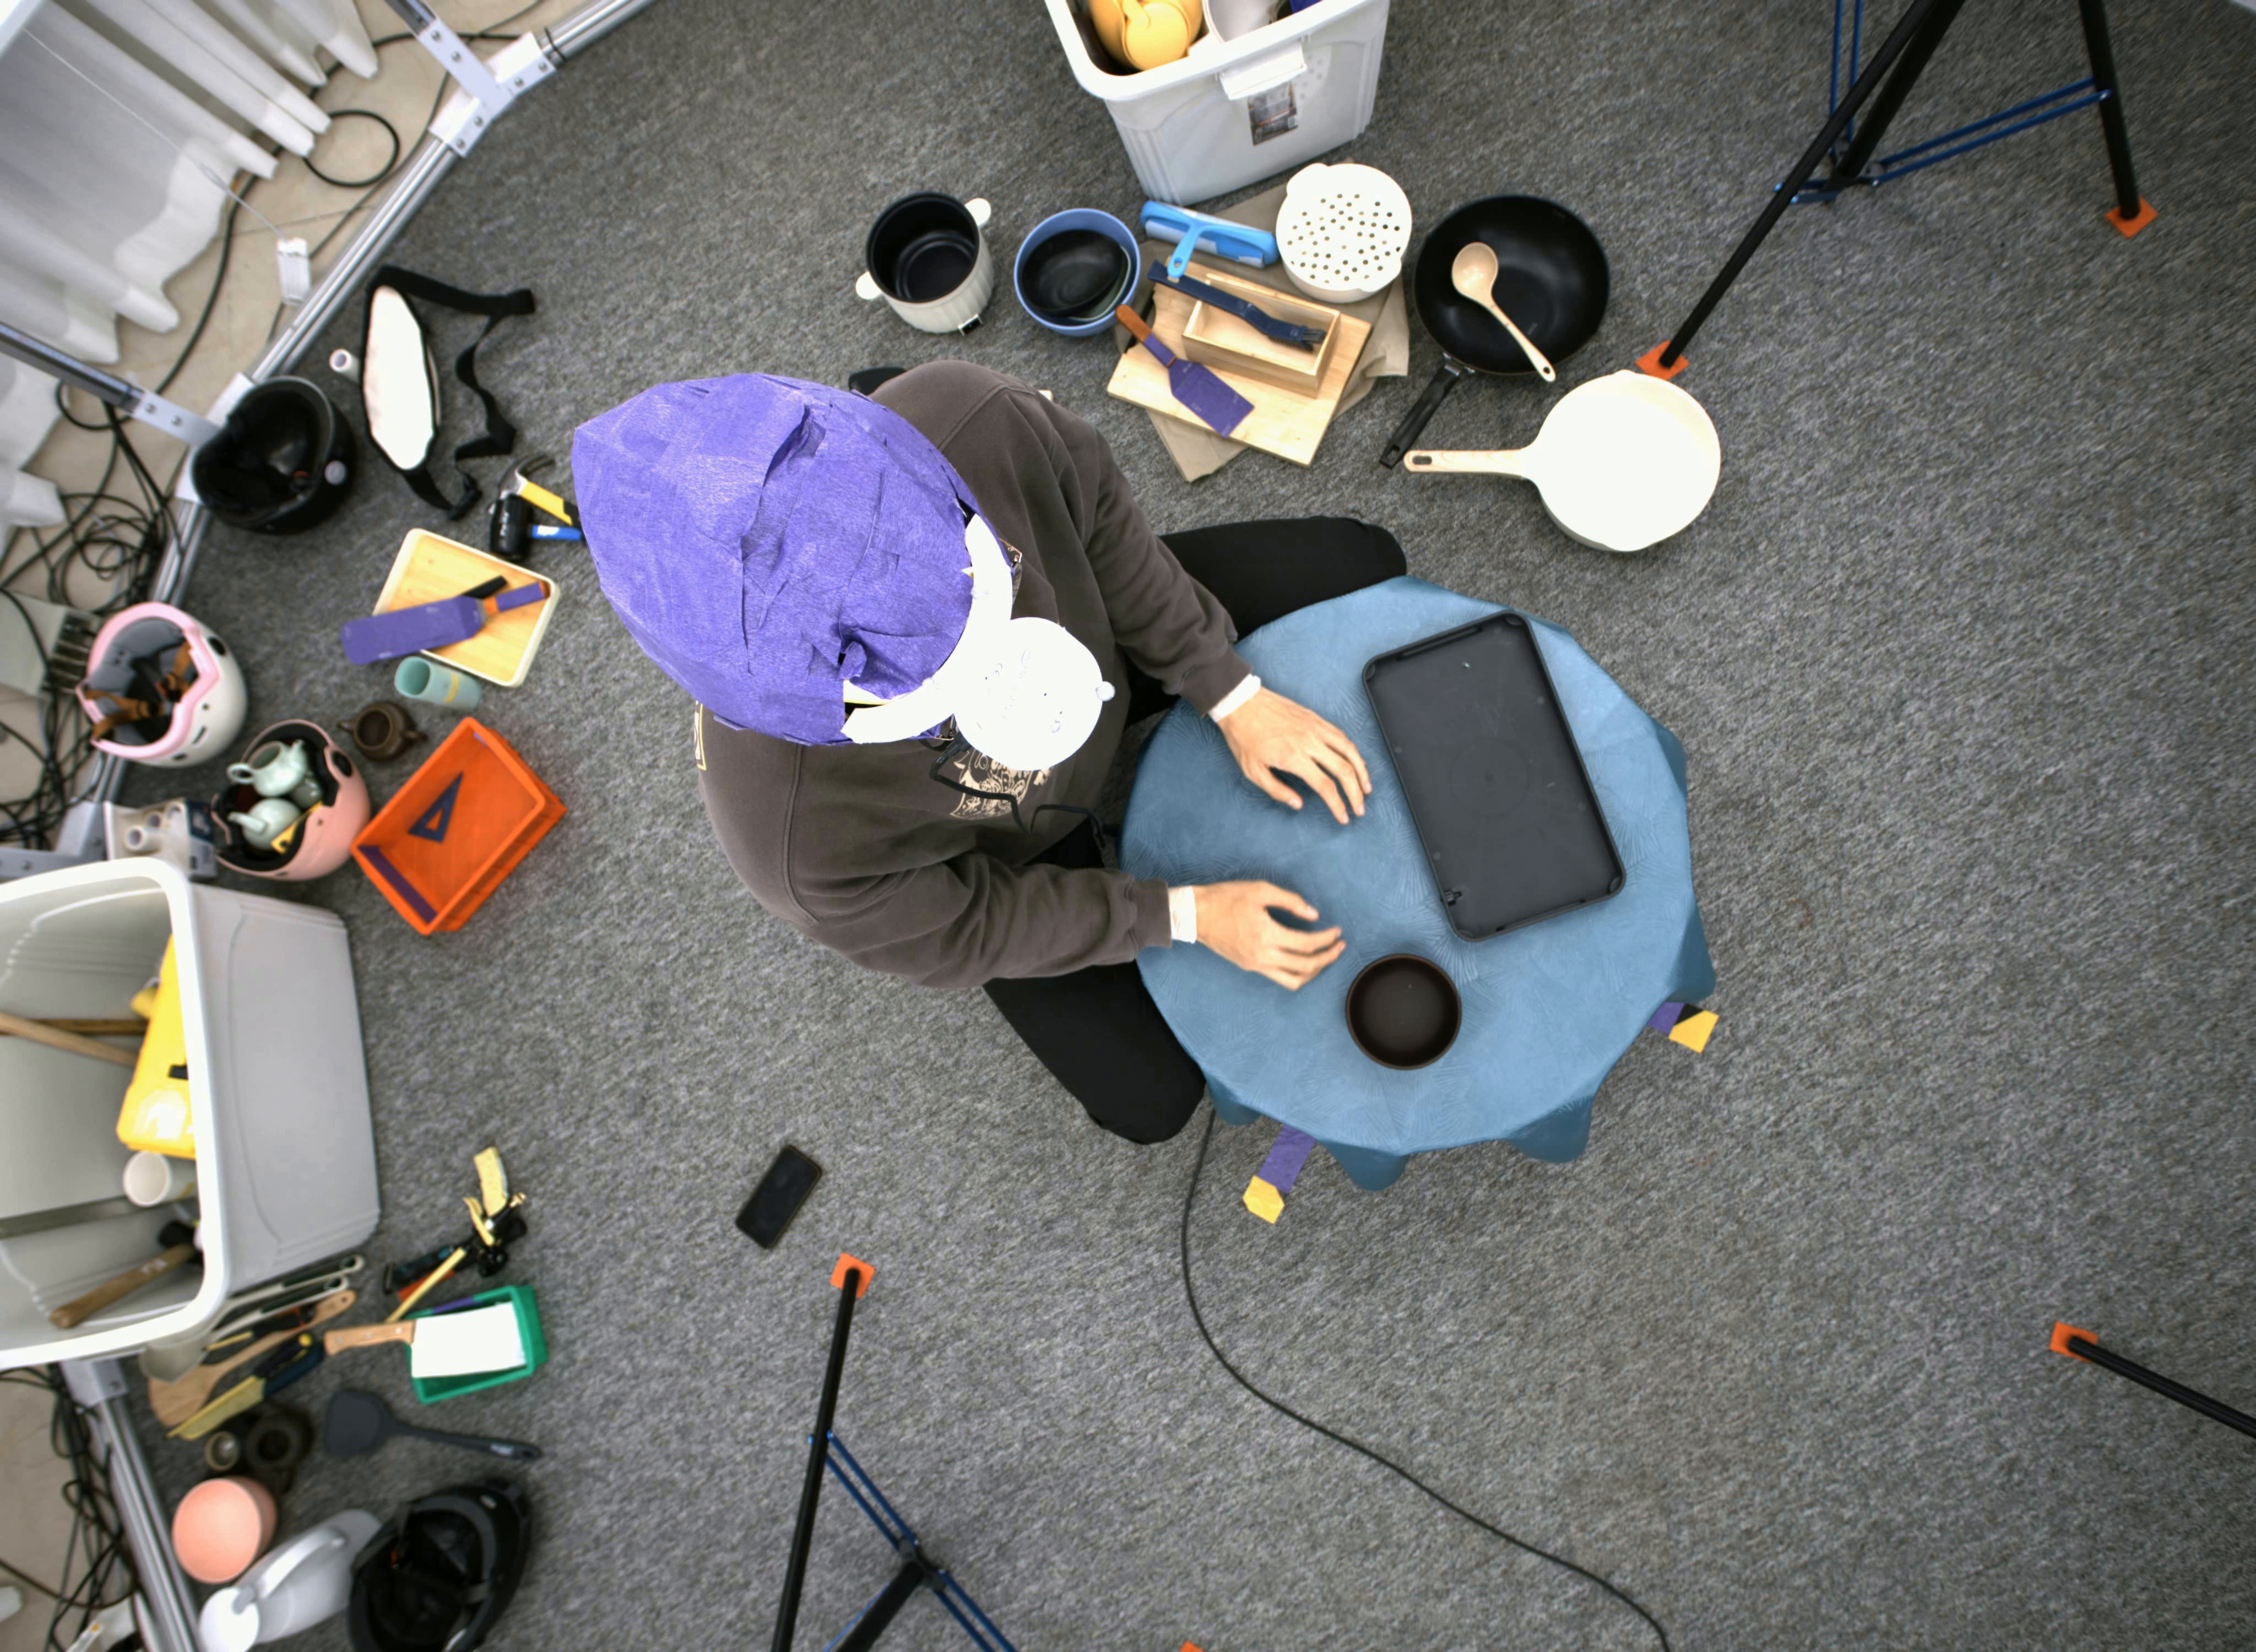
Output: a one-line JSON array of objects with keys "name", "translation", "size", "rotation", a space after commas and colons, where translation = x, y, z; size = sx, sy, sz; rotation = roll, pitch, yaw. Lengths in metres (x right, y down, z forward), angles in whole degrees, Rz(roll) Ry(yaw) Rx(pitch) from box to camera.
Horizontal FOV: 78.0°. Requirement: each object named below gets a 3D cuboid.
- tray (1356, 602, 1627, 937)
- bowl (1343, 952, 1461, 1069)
[{"name": "tray", "translation": [0.375, -0.060, 1.427], "size": [0.185, 0.037, 0.316], "rotation": [-21, 84, 9]}, {"name": "bowl", "translation": [0.280, 0.187, 1.414], "size": [0.118, 0.070, 0.117], "rotation": [-1, 86, 12]}]
